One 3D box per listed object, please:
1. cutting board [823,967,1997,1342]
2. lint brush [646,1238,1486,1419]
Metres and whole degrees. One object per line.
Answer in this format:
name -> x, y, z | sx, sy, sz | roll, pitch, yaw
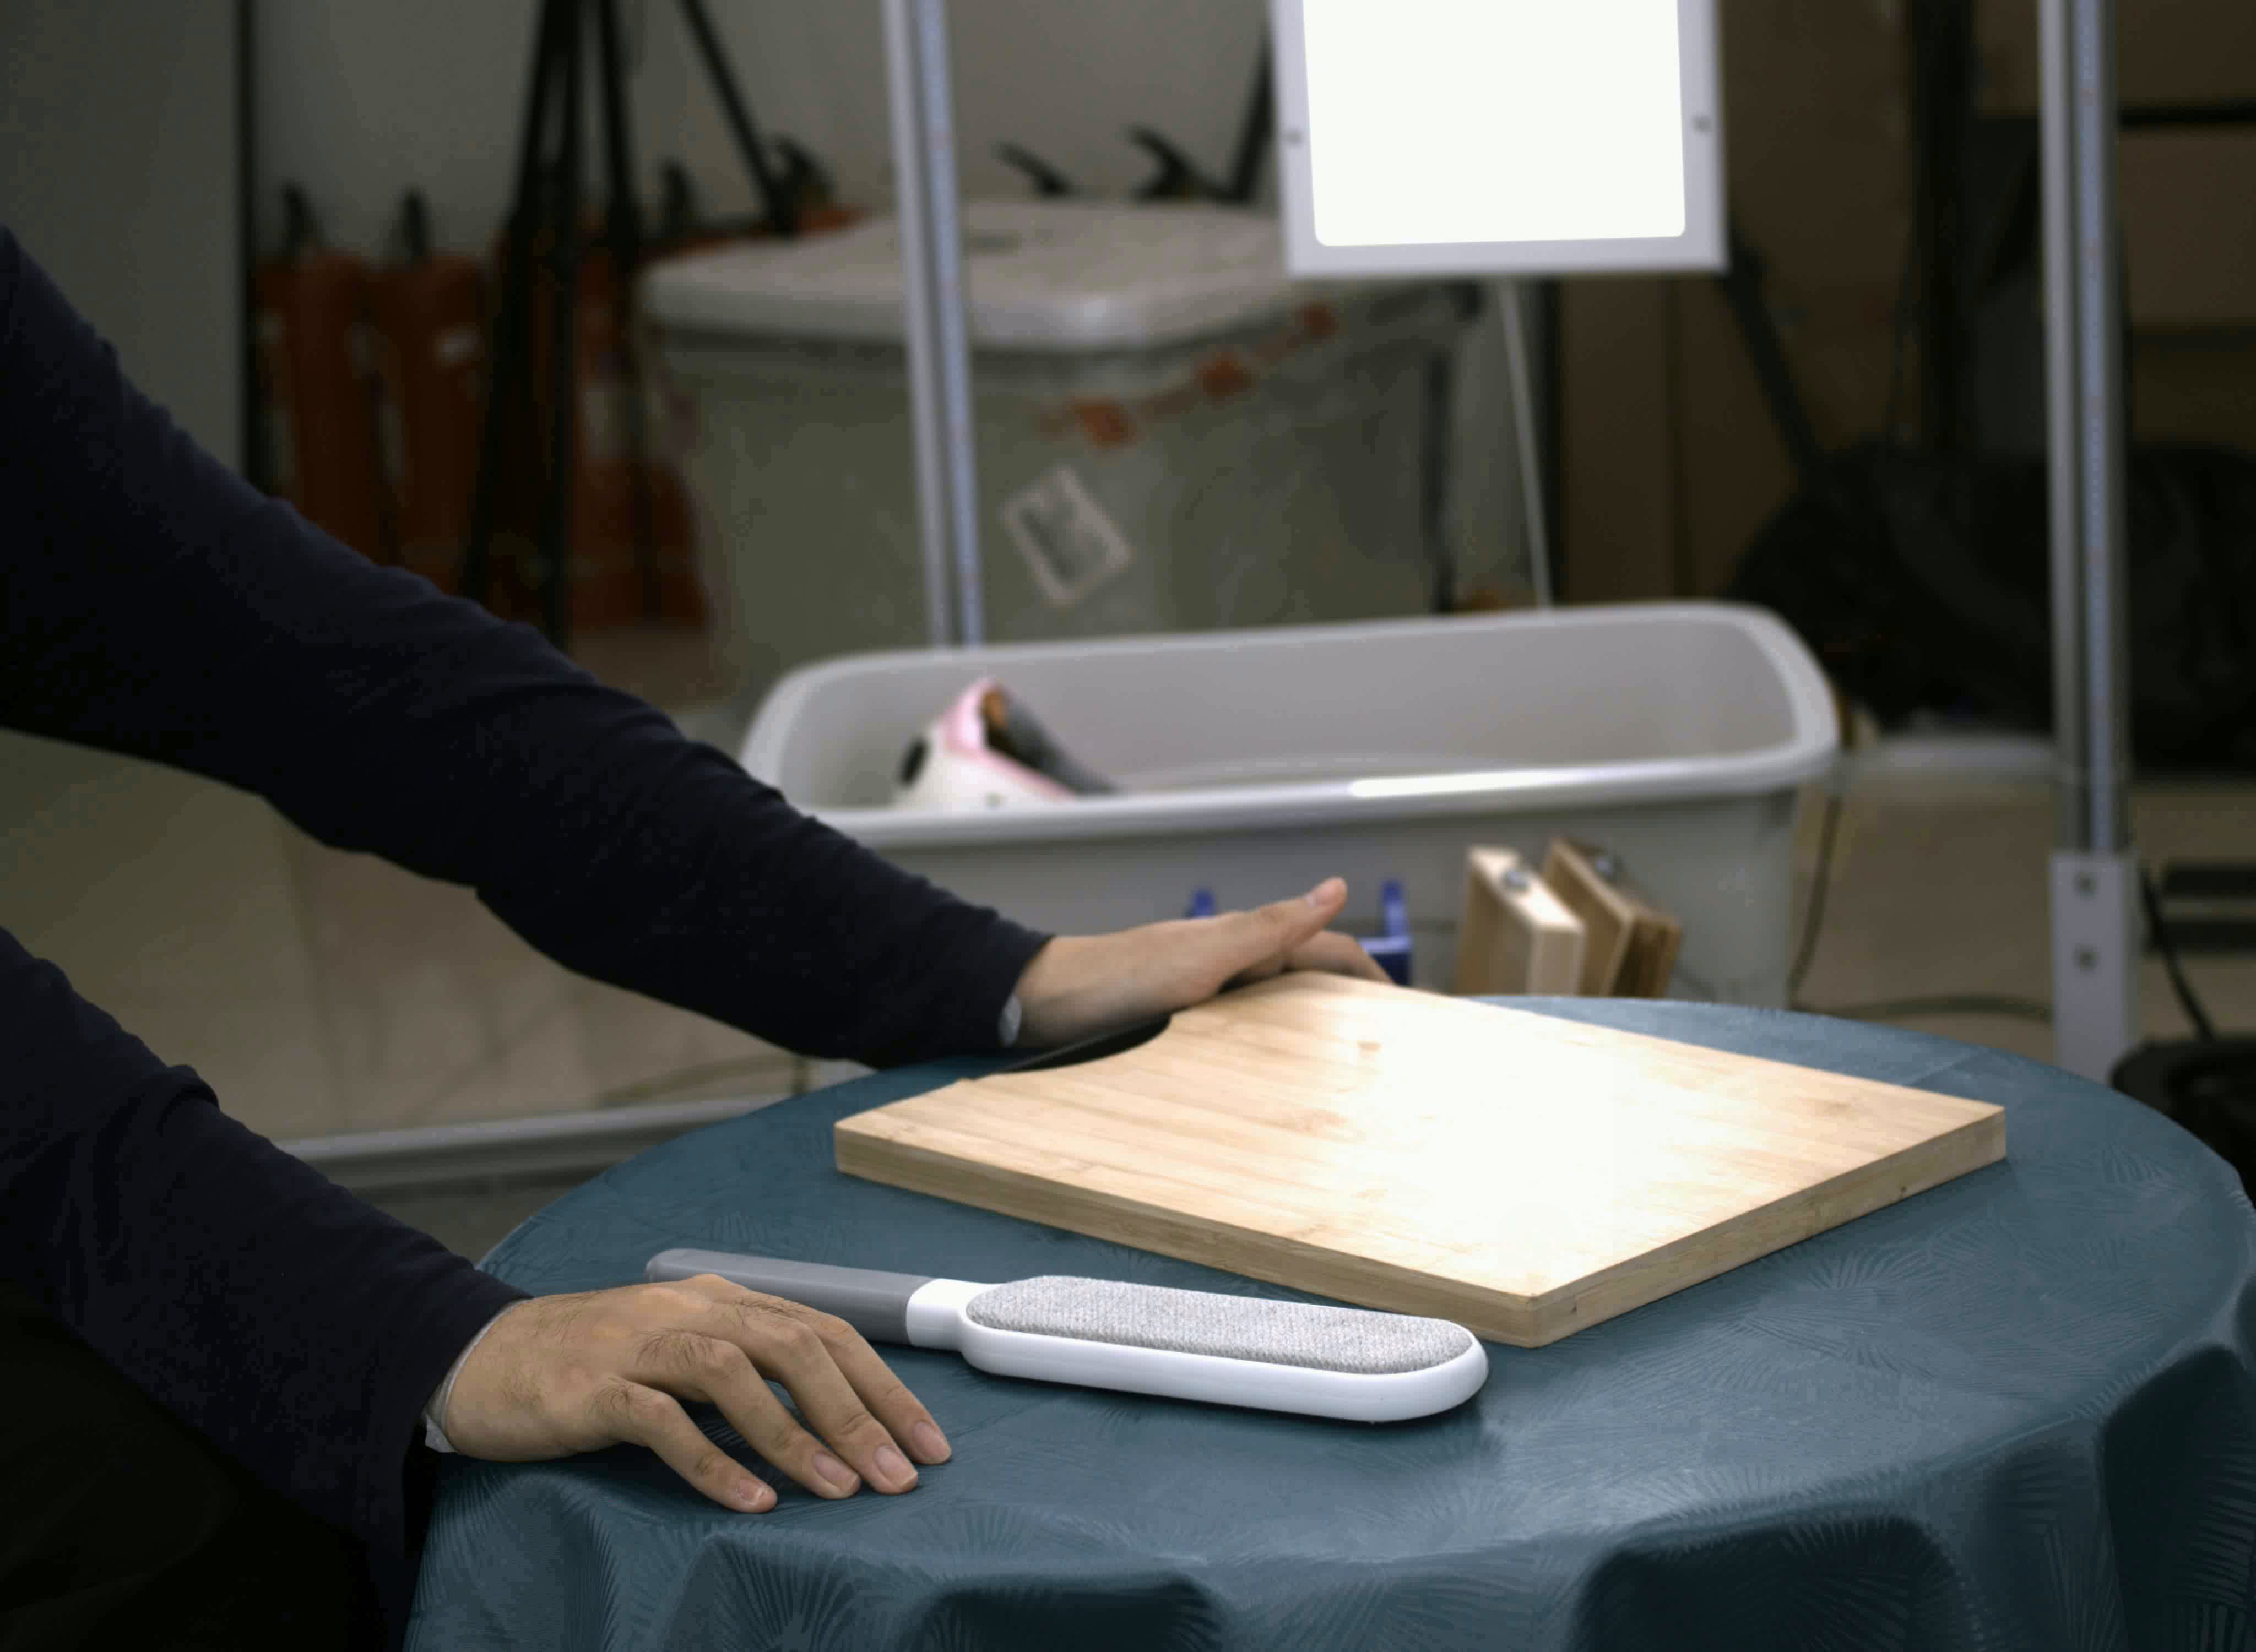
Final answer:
cutting board -> 0.094, 0.109, 1.910 | 0.244, 0.023, 0.356 | -16, 17, -40
lint brush -> -0.026, 0.155, 1.740 | 0.315, 0.021, 0.058 | 4, 22, 34
